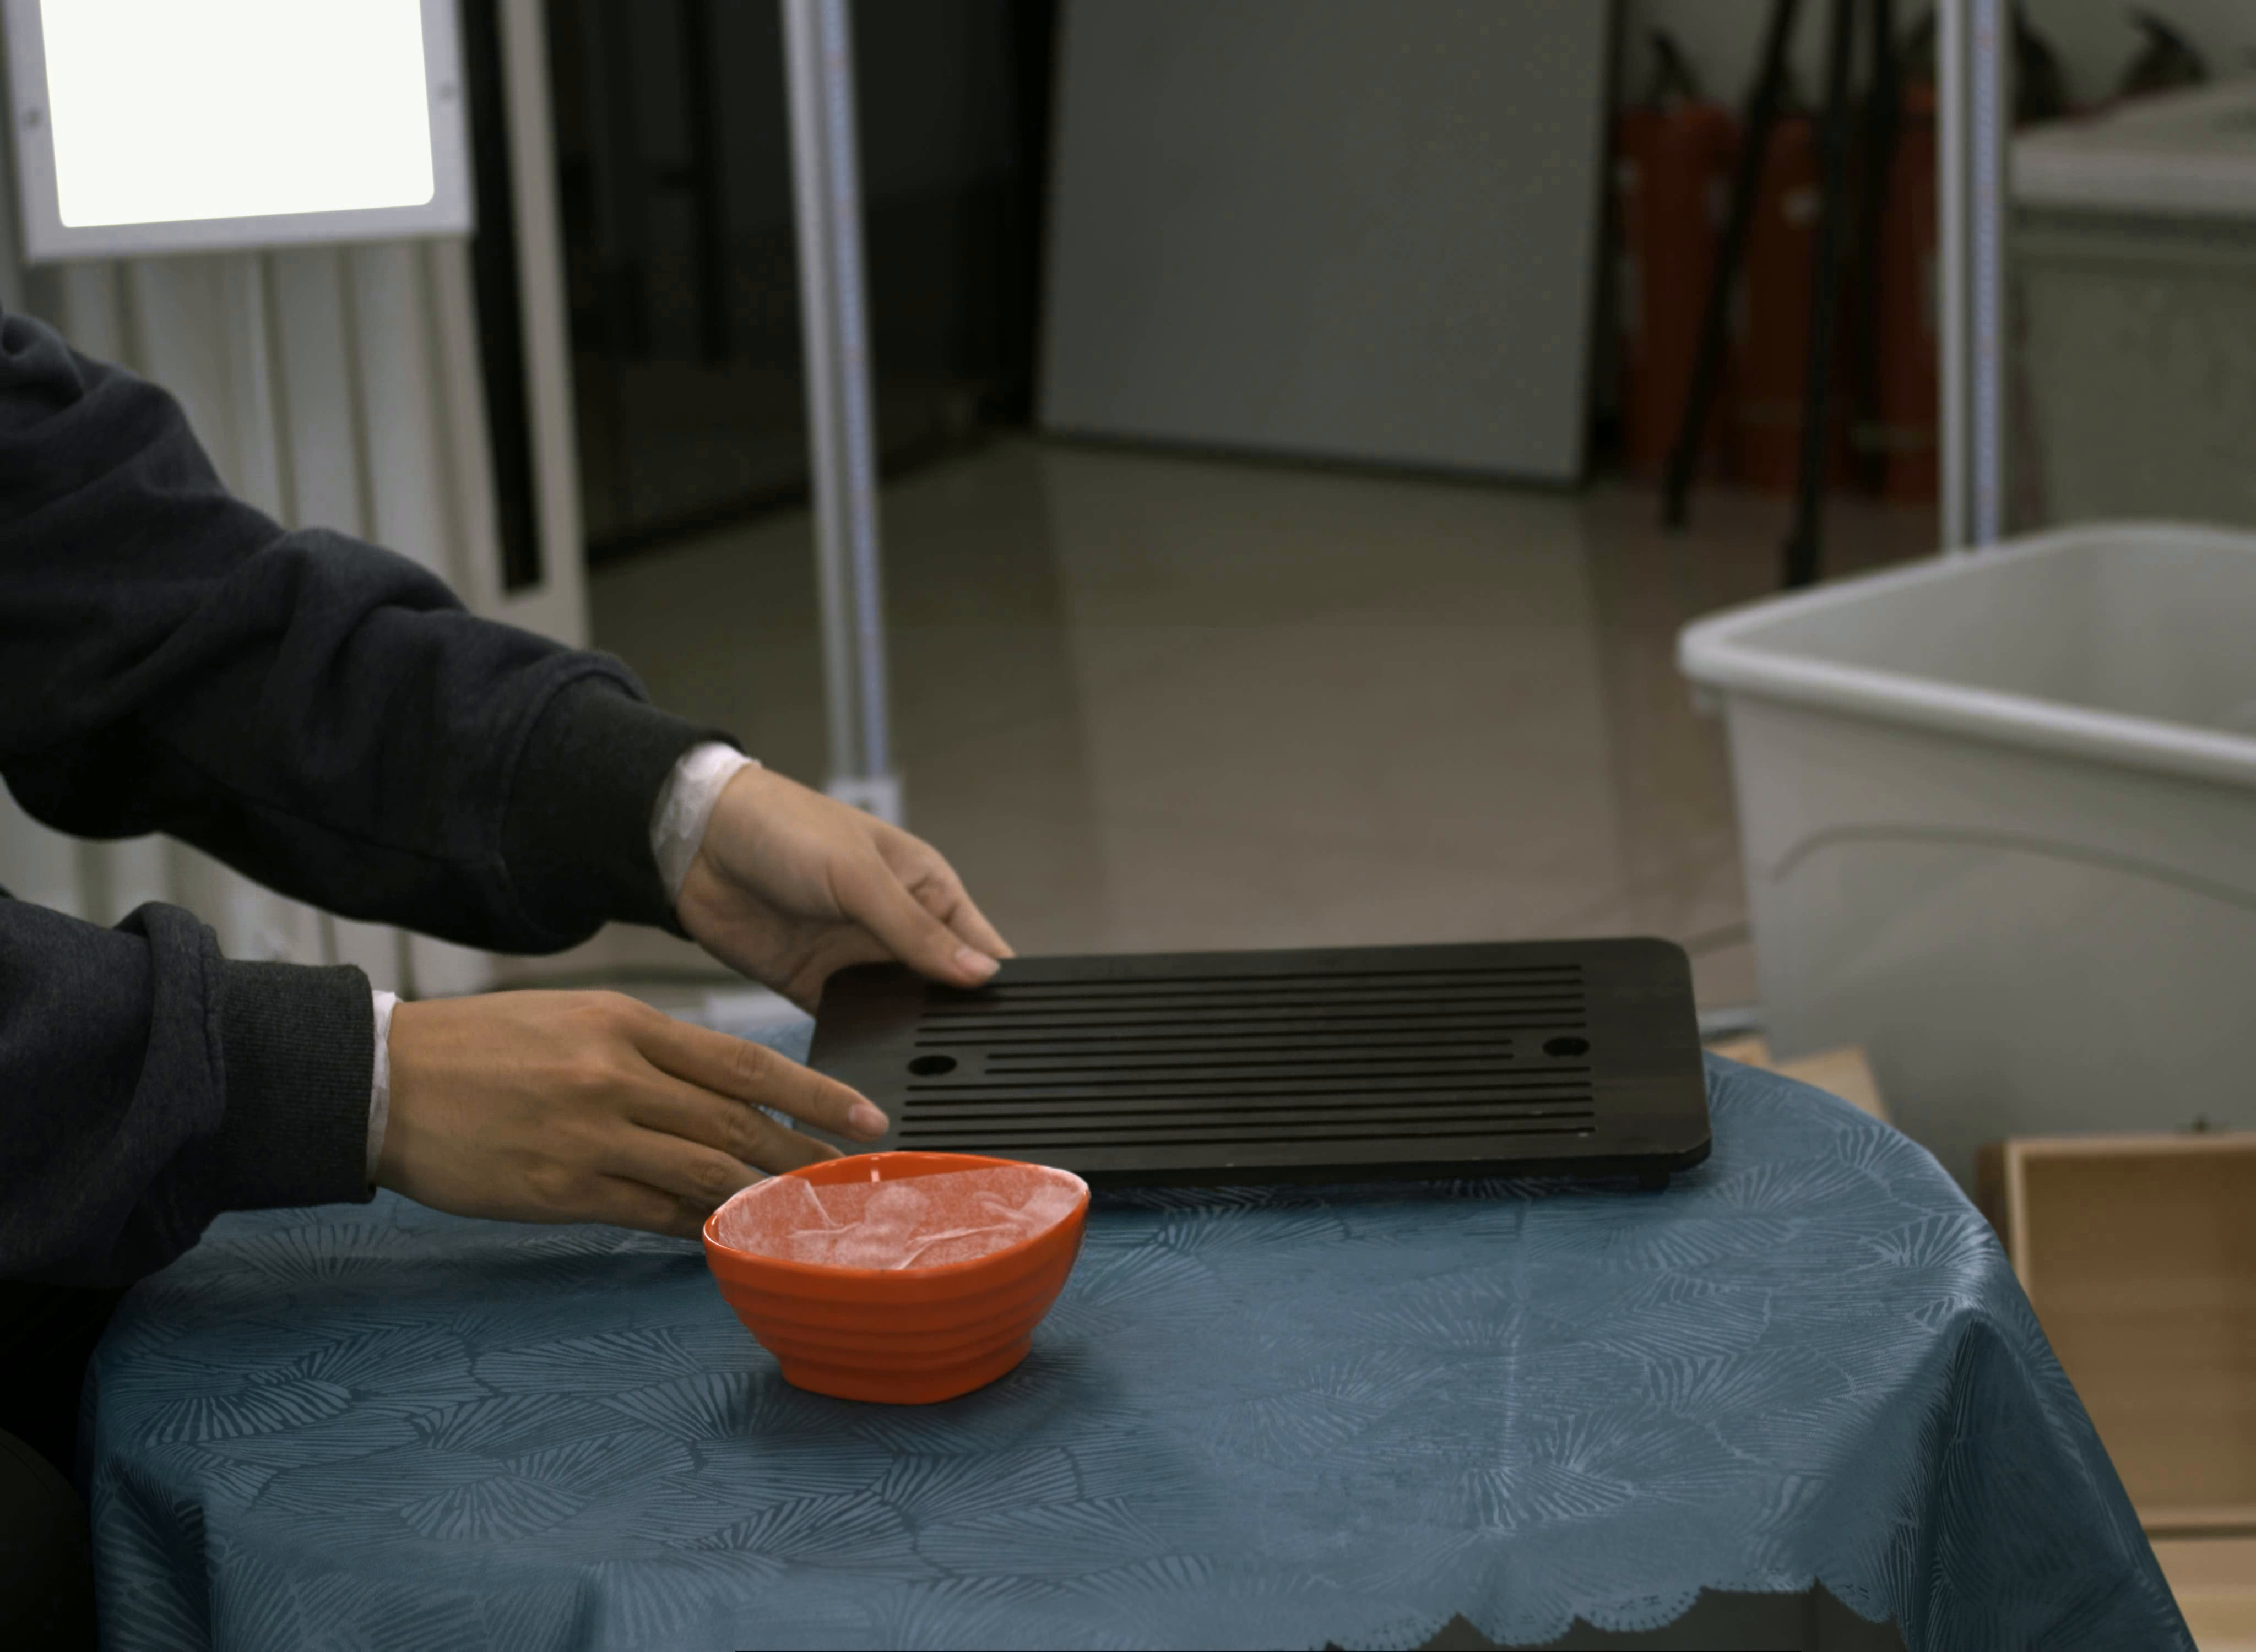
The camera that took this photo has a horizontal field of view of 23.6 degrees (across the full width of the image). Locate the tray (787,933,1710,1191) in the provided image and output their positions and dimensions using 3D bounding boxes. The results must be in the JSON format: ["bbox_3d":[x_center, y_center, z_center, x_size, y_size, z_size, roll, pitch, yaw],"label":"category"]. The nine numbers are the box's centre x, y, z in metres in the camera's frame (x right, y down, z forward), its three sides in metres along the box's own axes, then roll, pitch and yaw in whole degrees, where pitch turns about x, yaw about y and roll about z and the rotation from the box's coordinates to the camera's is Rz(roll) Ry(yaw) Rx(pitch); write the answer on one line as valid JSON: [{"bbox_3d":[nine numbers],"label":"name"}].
[{"bbox_3d":[0.042,0.084,1.817,0.303,0.019,0.170,-3,23,5],"label":"tray"}]

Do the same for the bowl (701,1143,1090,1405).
[{"bbox_3d":[-0.068,0.136,1.613,0.117,0.052,0.119,-4,15,0],"label":"bowl"}]
